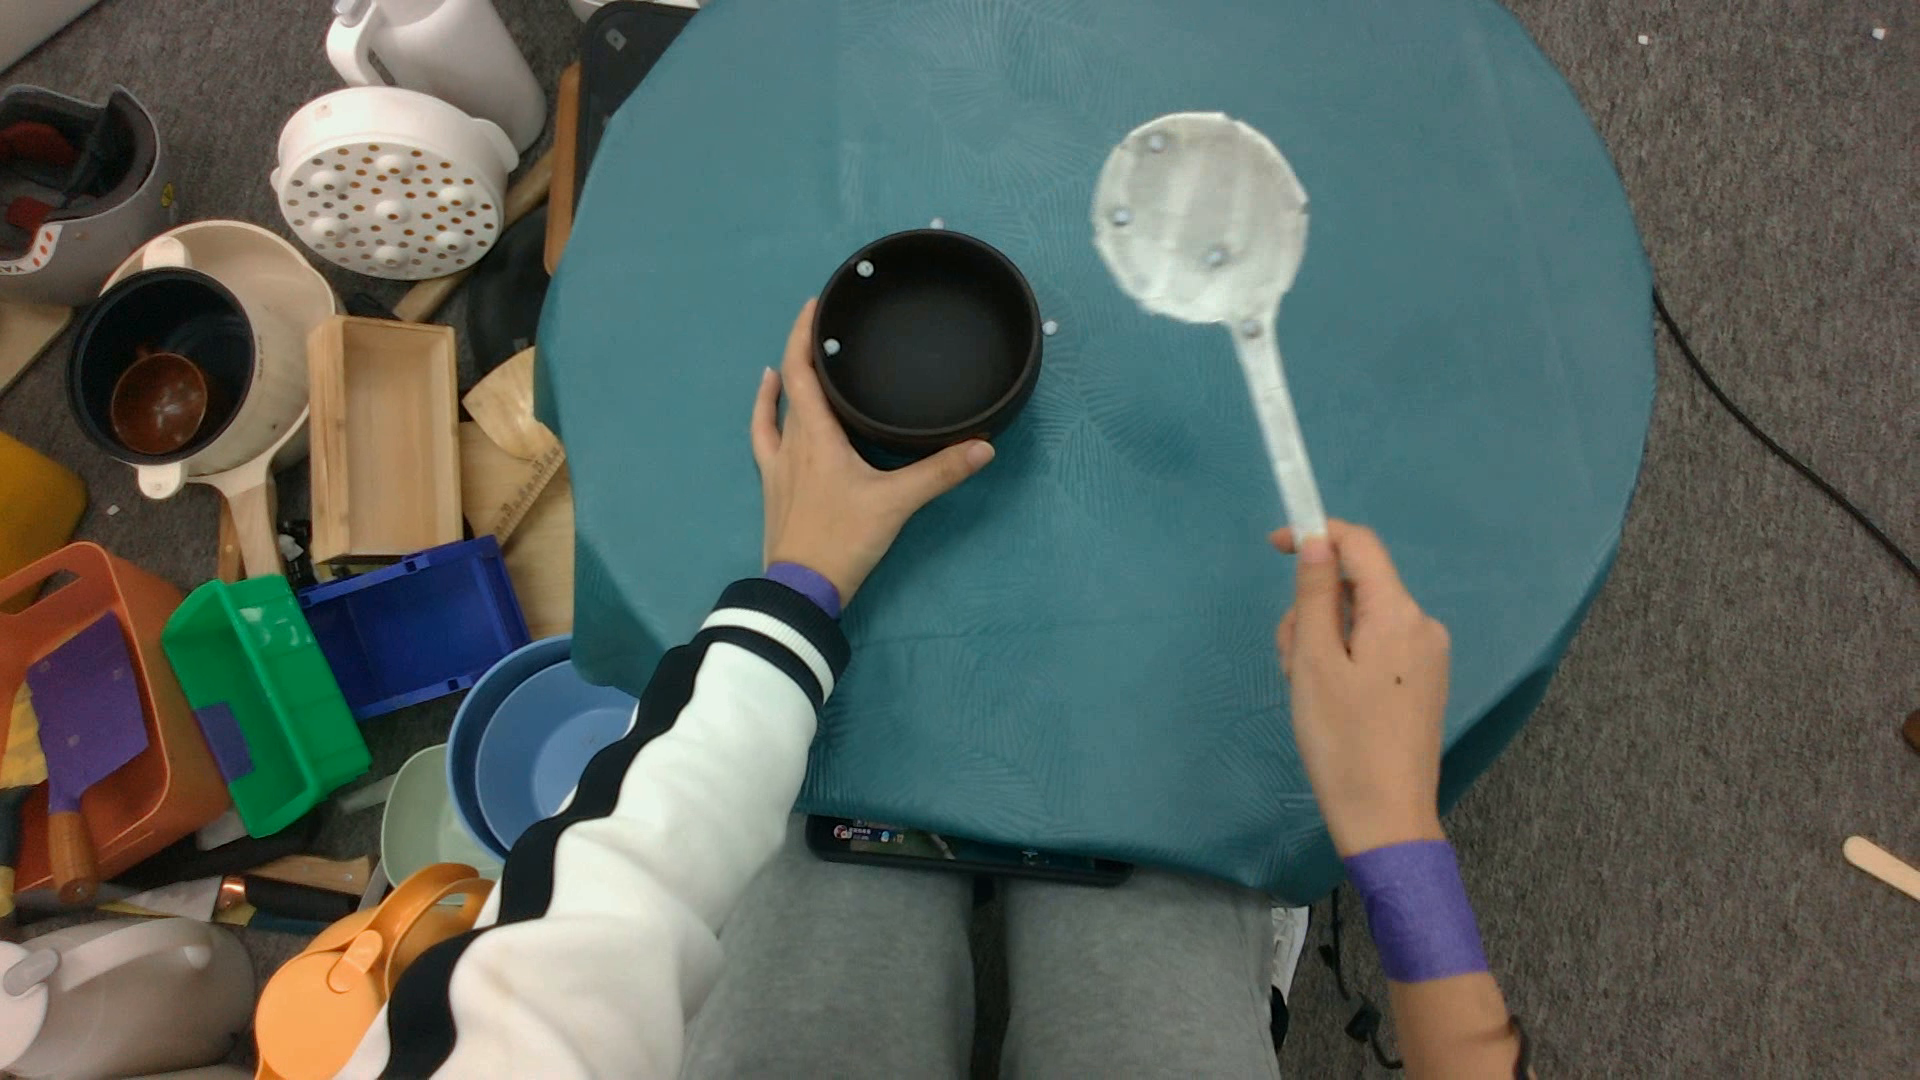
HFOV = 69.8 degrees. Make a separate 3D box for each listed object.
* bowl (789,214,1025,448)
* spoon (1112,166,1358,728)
[{"bbox_3d":[-0.026,-0.101,0.713,0.118,0.069,0.118,-1,73,2],"label":"bowl"},{"bbox_3d":[0.130,-0.039,0.632,0.059,0.101,0.277,-7,107,27],"label":"spoon"}]
